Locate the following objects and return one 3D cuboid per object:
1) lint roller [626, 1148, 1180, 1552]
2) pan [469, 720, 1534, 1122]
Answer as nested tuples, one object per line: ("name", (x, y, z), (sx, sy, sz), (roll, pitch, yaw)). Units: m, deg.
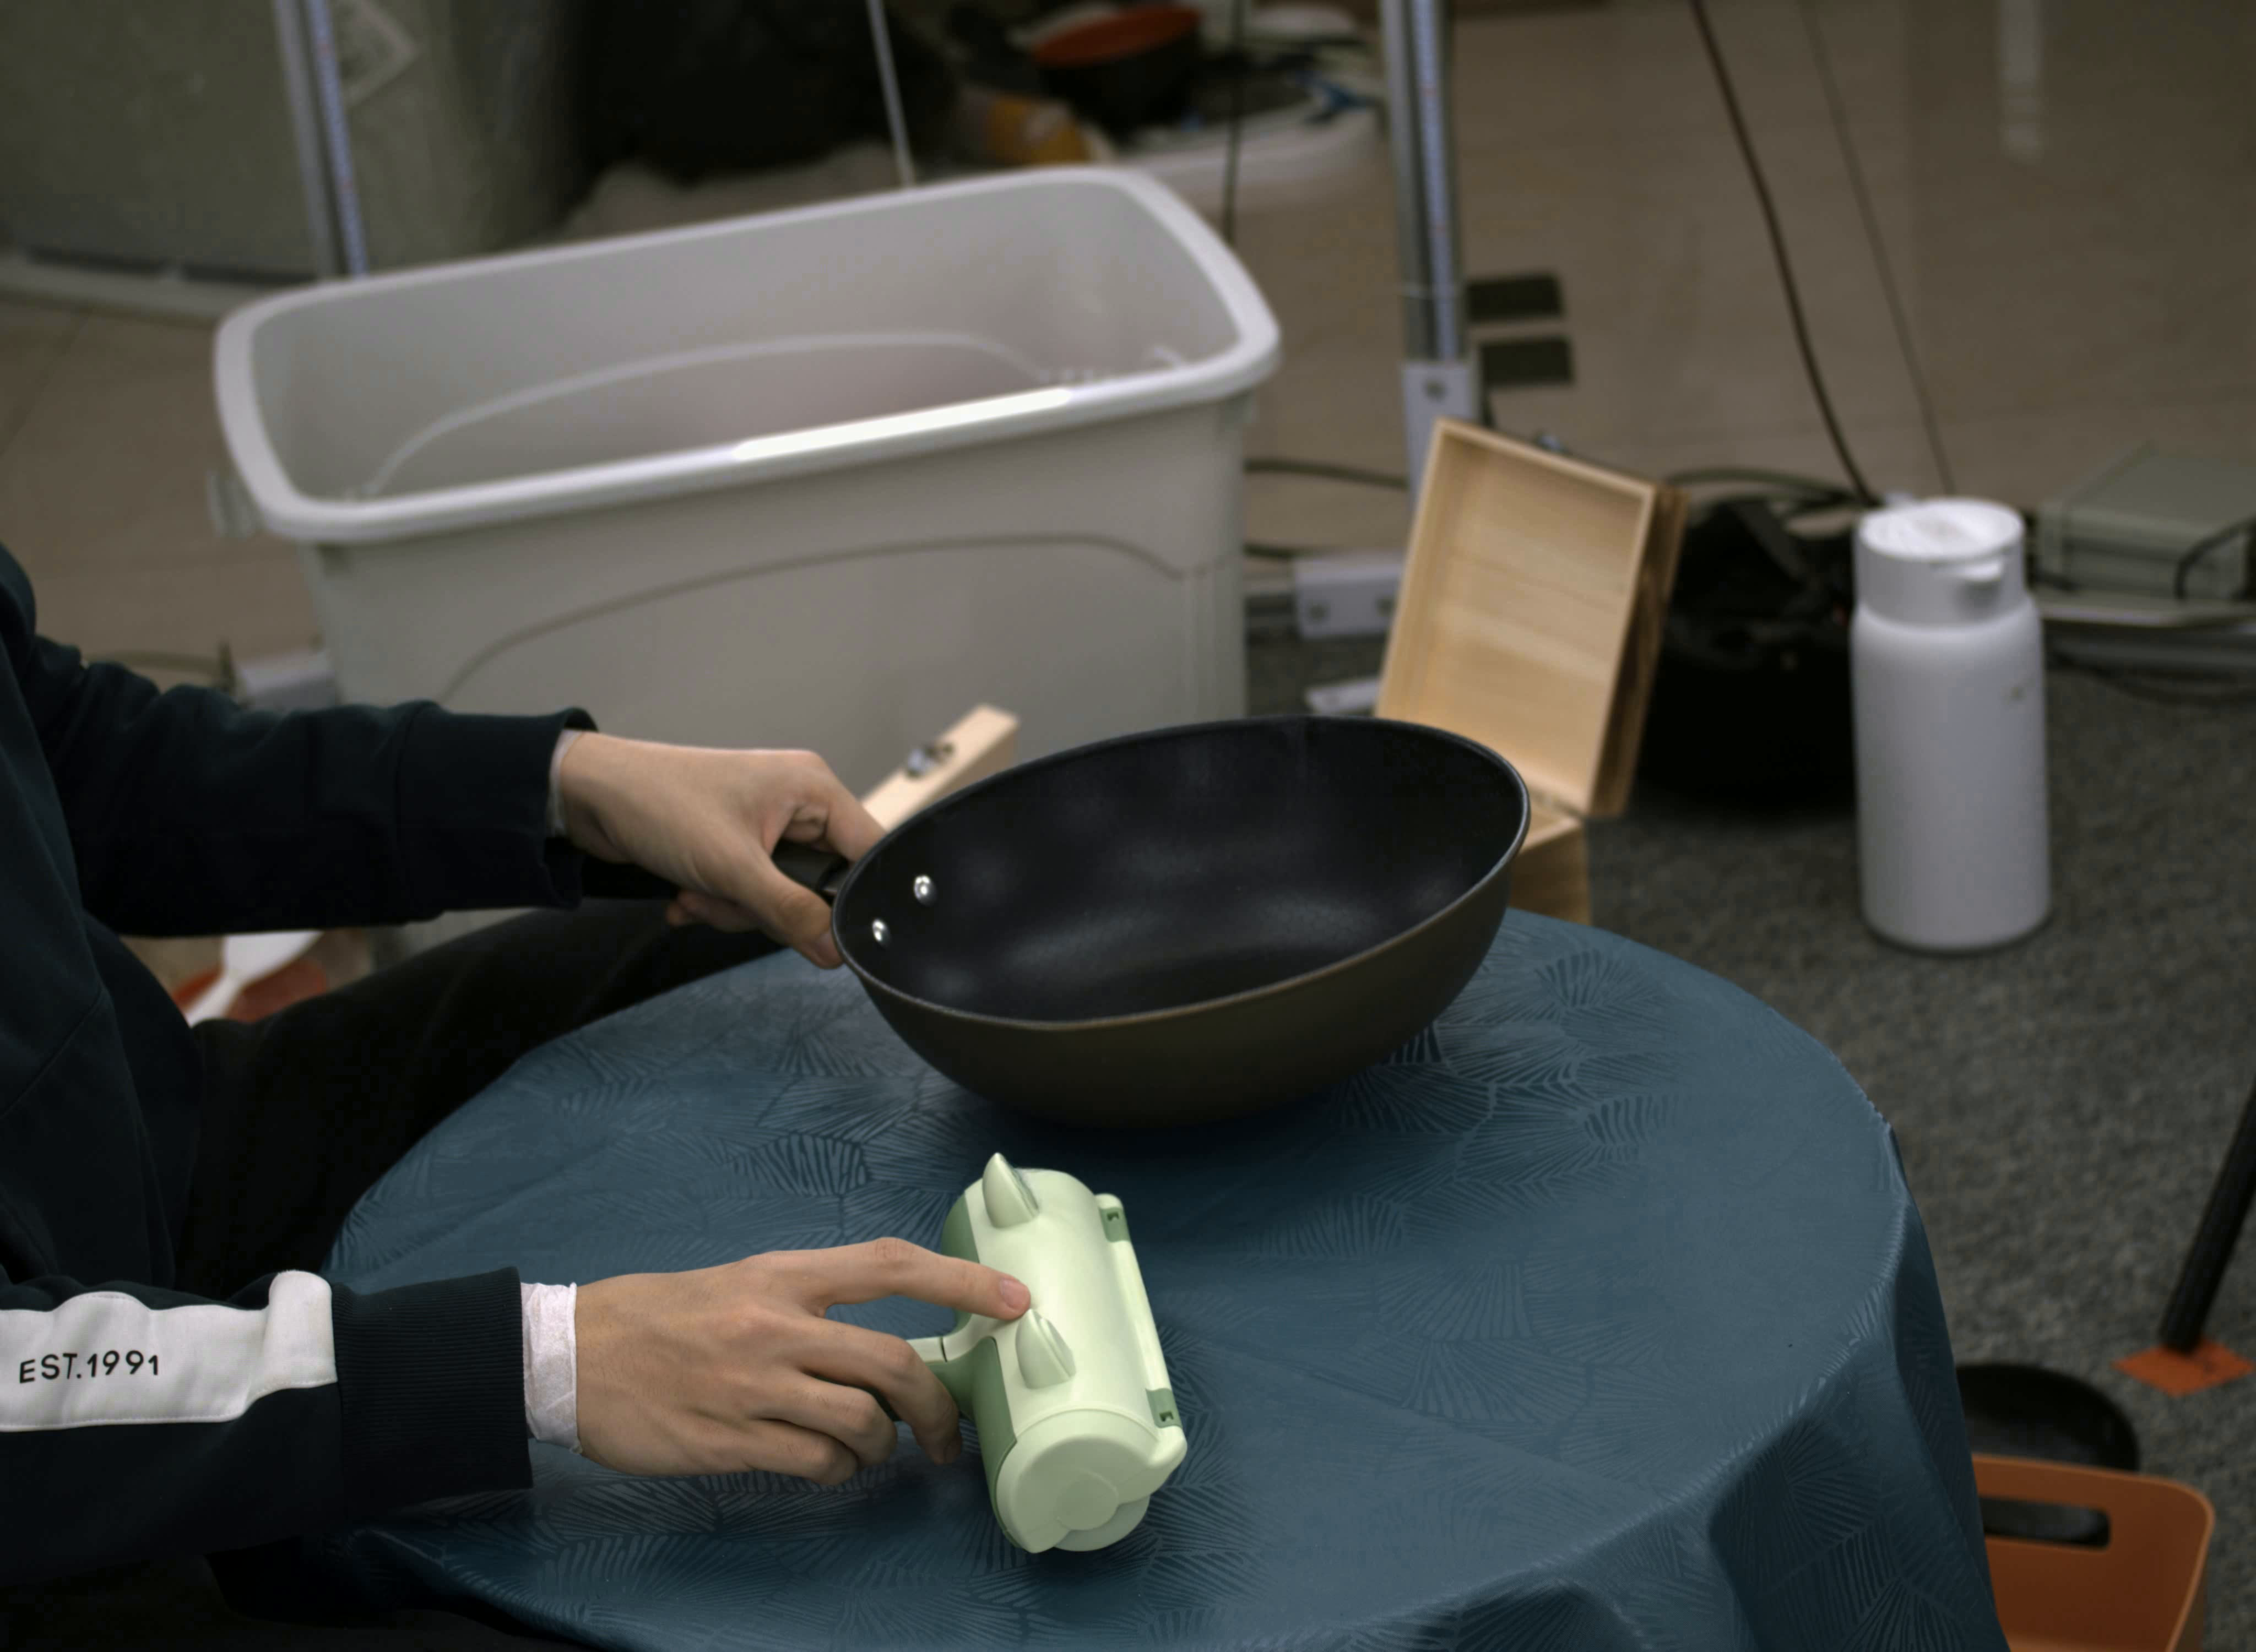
("lint roller", (-0.083, 0.178, 1.962), (0.183, 0.083, 0.195), (-3, 25, -6))
("pan", (-0.056, 0.048, 2.259), (0.462, 0.088, 0.284), (-2, 23, 24))
